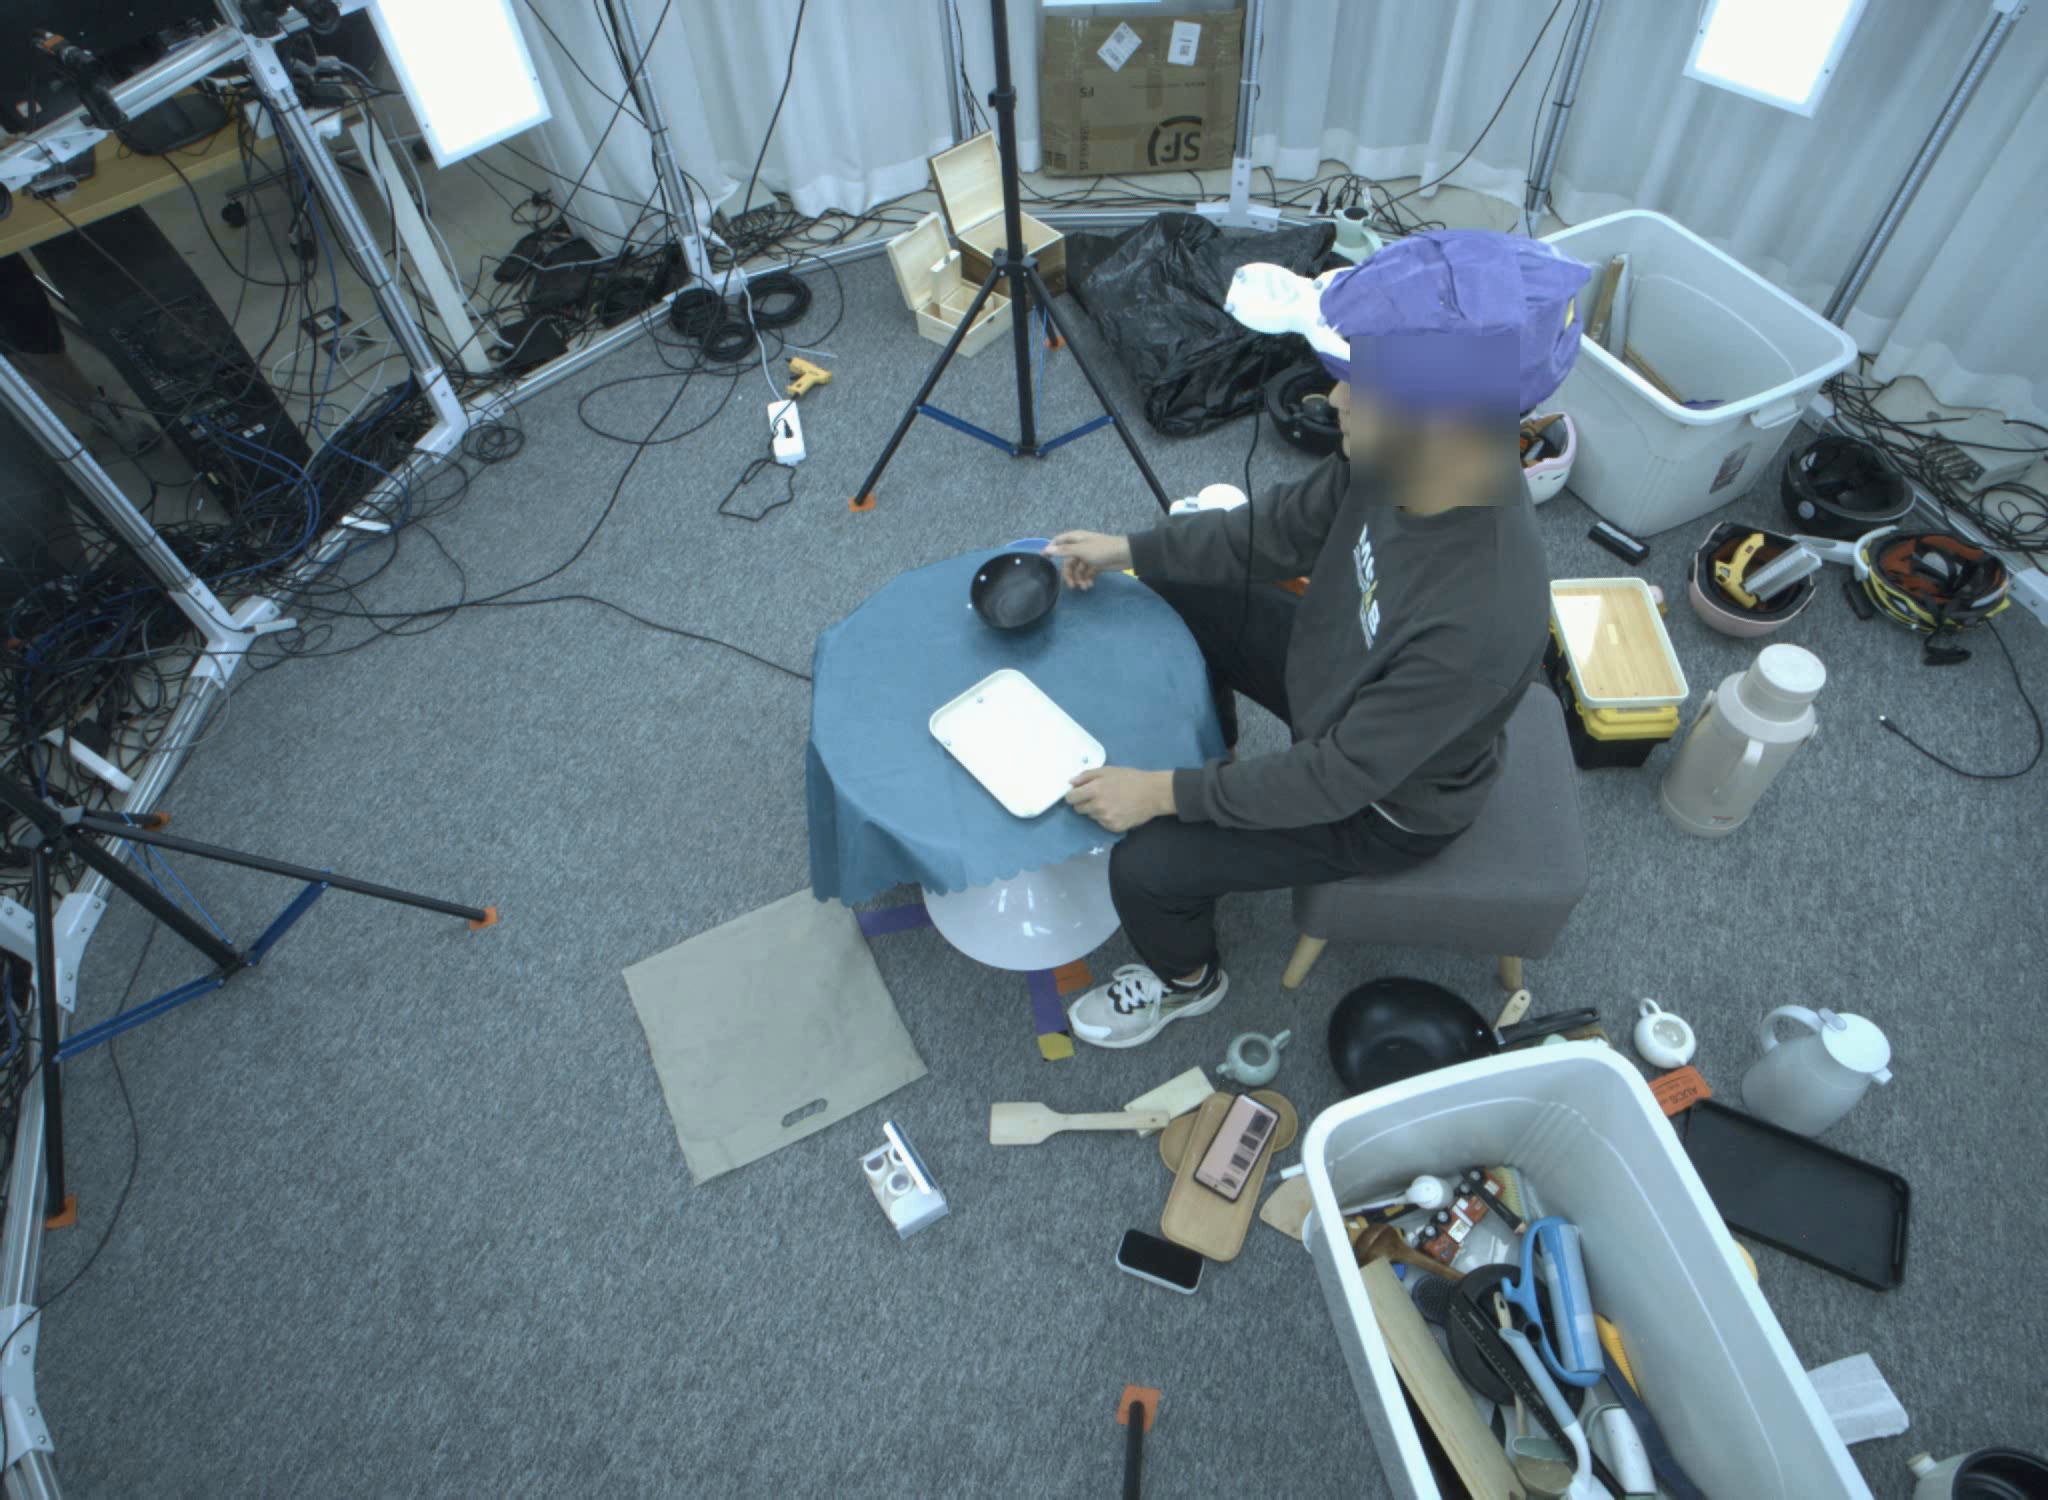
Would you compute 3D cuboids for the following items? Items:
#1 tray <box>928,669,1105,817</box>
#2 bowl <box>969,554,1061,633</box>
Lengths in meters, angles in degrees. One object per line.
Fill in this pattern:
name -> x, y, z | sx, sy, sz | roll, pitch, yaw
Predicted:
tray -> -0.012, -0.012, 1.783 | 0.172, 0.017, 0.235 | -35, 61, -22
bowl -> -0.012, -0.237, 1.916 | 0.136, 0.067, 0.170 | 15, 55, 11
